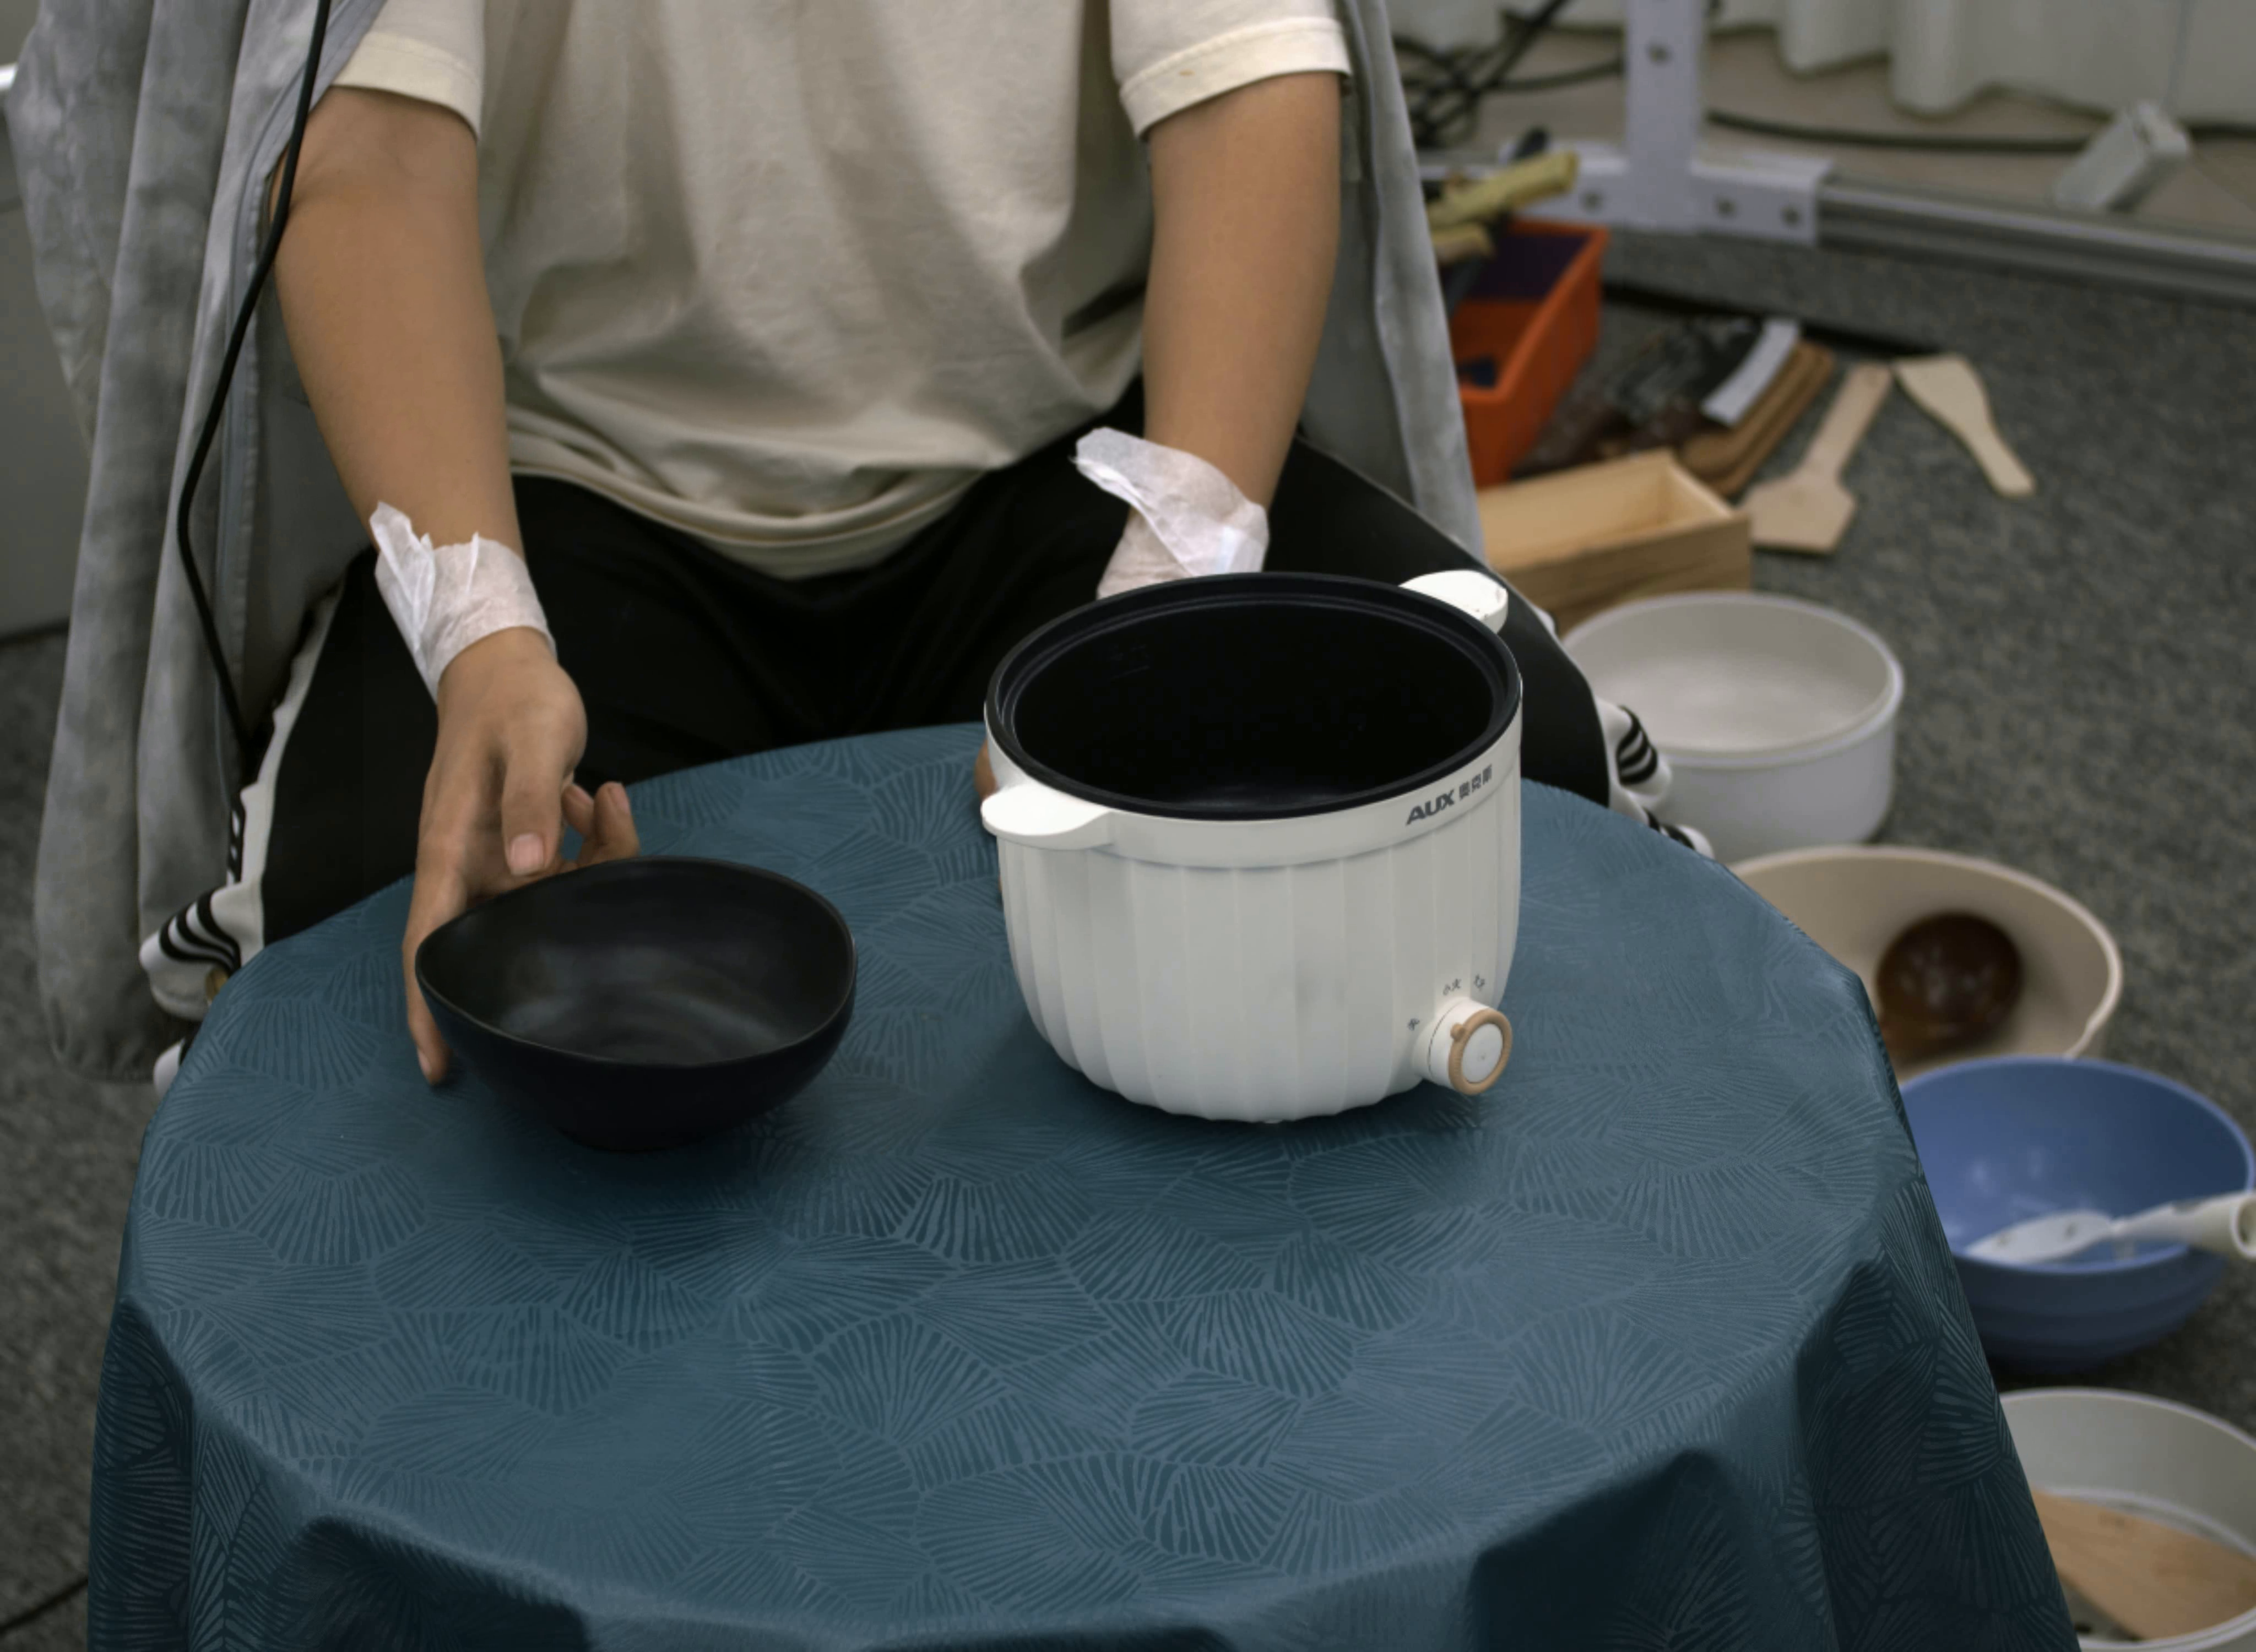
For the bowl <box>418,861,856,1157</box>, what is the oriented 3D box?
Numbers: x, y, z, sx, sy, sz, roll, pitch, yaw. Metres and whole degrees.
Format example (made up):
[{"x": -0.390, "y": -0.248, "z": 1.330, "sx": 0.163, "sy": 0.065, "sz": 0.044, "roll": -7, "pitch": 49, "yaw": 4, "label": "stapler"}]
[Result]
[{"x": -0.167, "y": 0.070, "z": 1.909, "sx": 0.170, "sy": 0.066, "sz": 0.139, "roll": 20, "pitch": 33, "yaw": 39, "label": "bowl"}]

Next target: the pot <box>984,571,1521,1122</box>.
[{"x": 0.050, "y": 0.012, "z": 1.919, "sx": 0.190, "sy": 0.141, "sz": 0.243, "roll": 17, "pitch": 34, "yaw": 41, "label": "pot"}]
